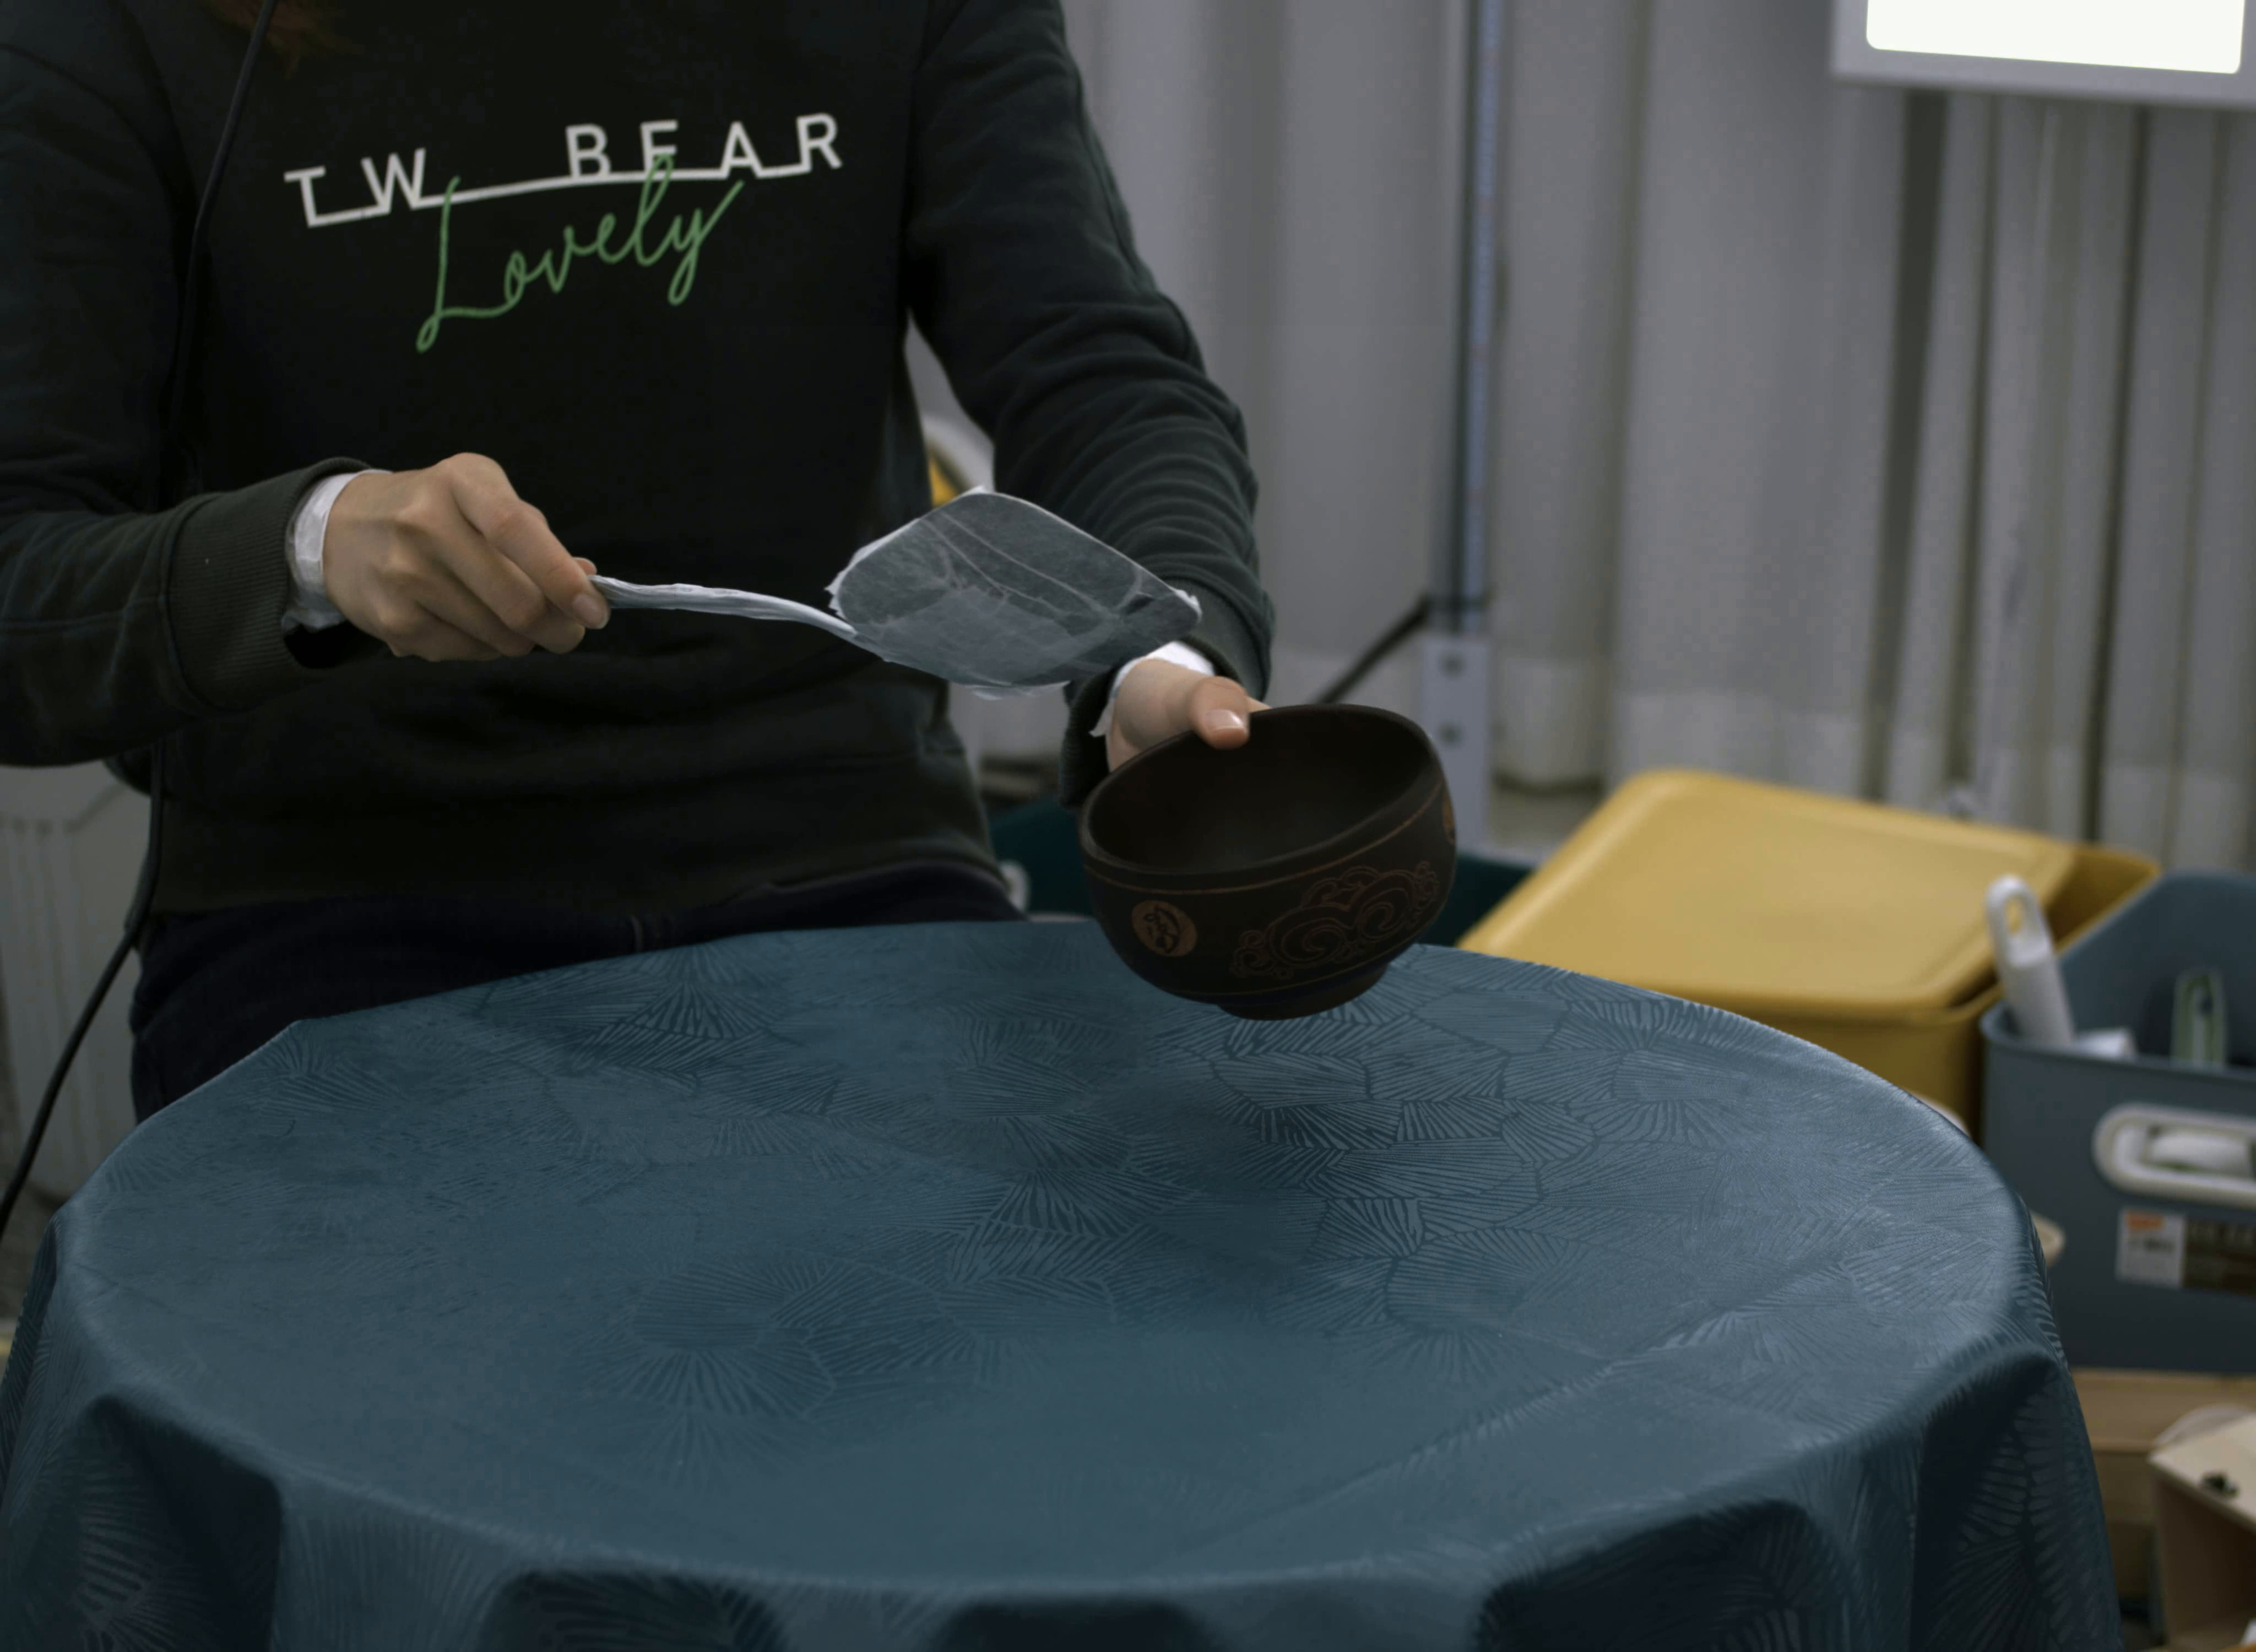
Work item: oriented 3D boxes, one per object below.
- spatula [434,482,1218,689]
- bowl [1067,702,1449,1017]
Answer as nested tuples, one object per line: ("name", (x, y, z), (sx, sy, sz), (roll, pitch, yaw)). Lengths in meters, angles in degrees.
("spatula", (-0.119, -0.074, 1.672), (0.100, 0.045, 0.360), (29, -15, -38))
("bowl", (0.044, 0.017, 1.648), (0.117, 0.070, 0.117), (-10, 24, 5))
